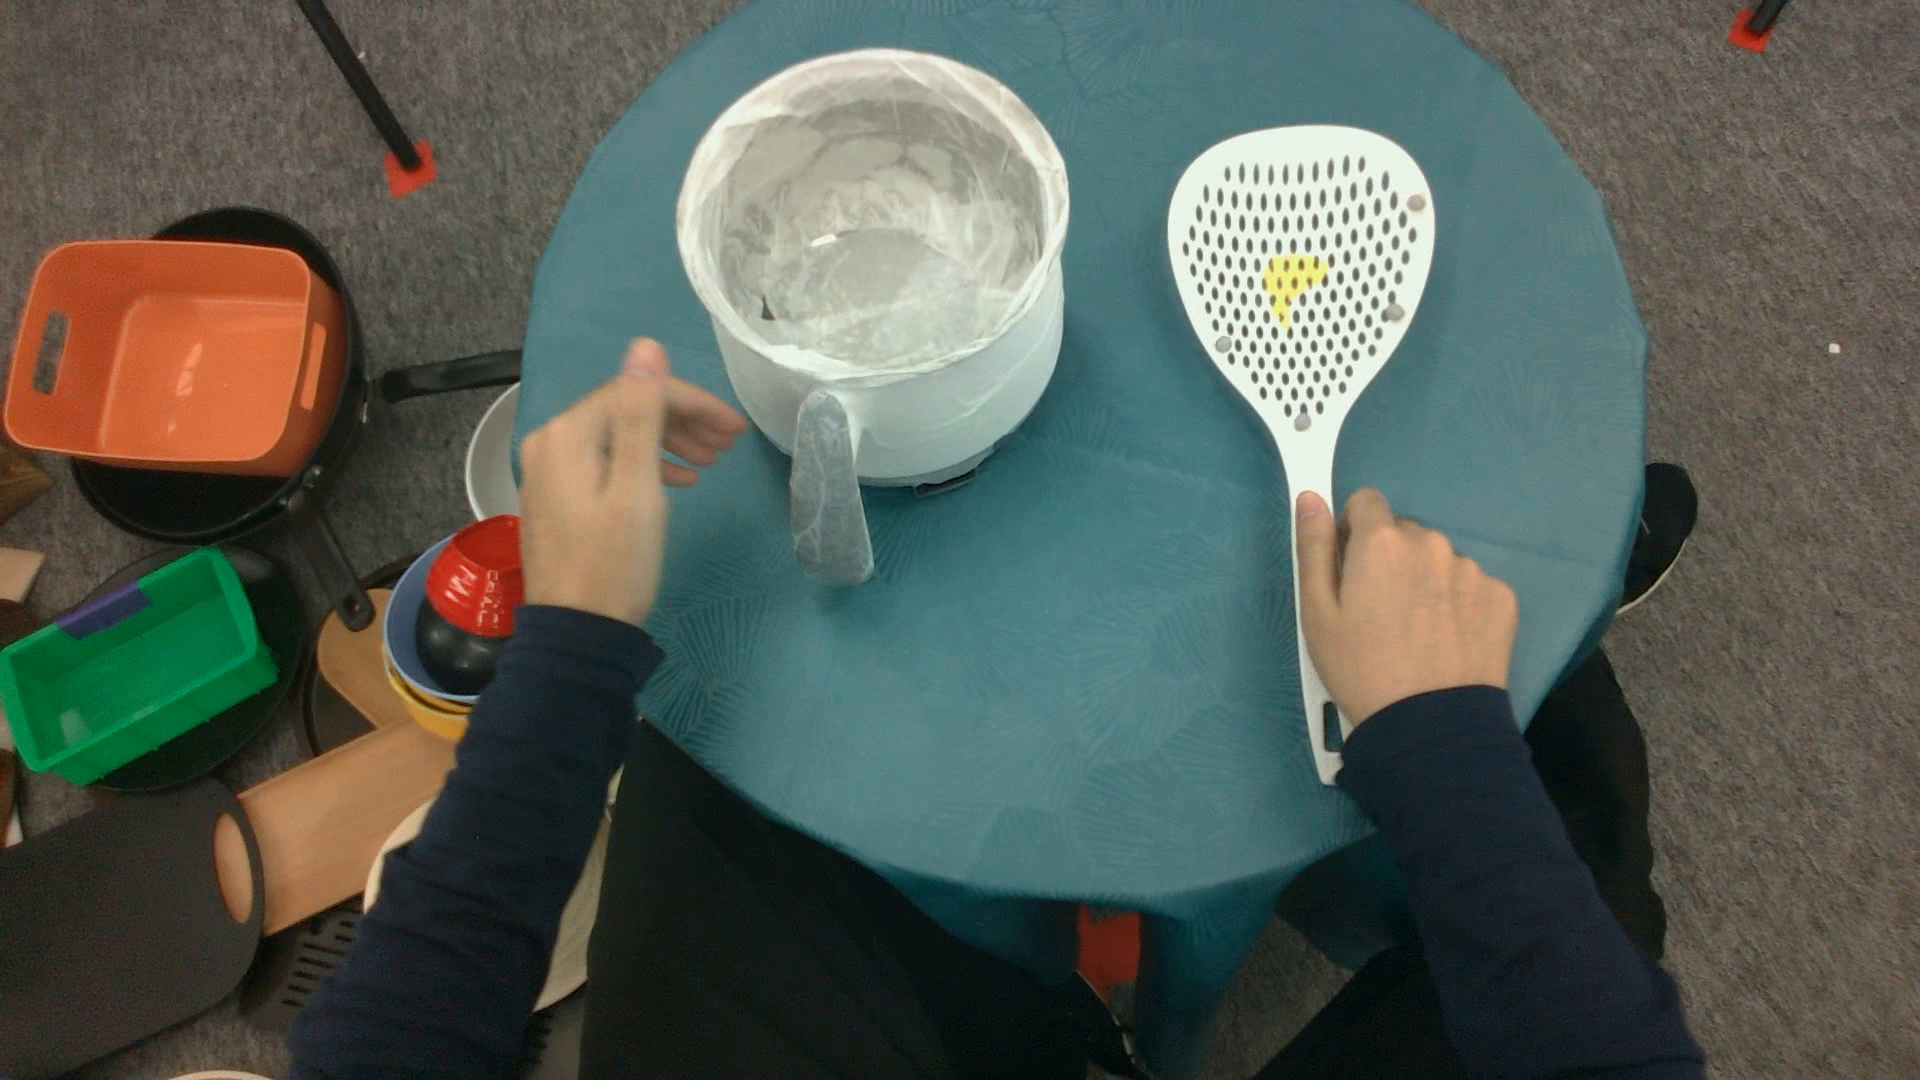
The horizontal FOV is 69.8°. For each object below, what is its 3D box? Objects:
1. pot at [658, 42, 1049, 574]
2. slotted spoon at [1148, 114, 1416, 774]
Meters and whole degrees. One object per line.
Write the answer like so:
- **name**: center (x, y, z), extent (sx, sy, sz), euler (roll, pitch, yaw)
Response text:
- **pot**: center (-0.049, -0.106, 0.669), extent (0.178, 0.136, 0.234), euler (7, 68, 7)
- **slotted spoon**: center (0.169, -0.059, 0.694), extent (0.137, 0.050, 0.349), euler (-3, 67, 7)
